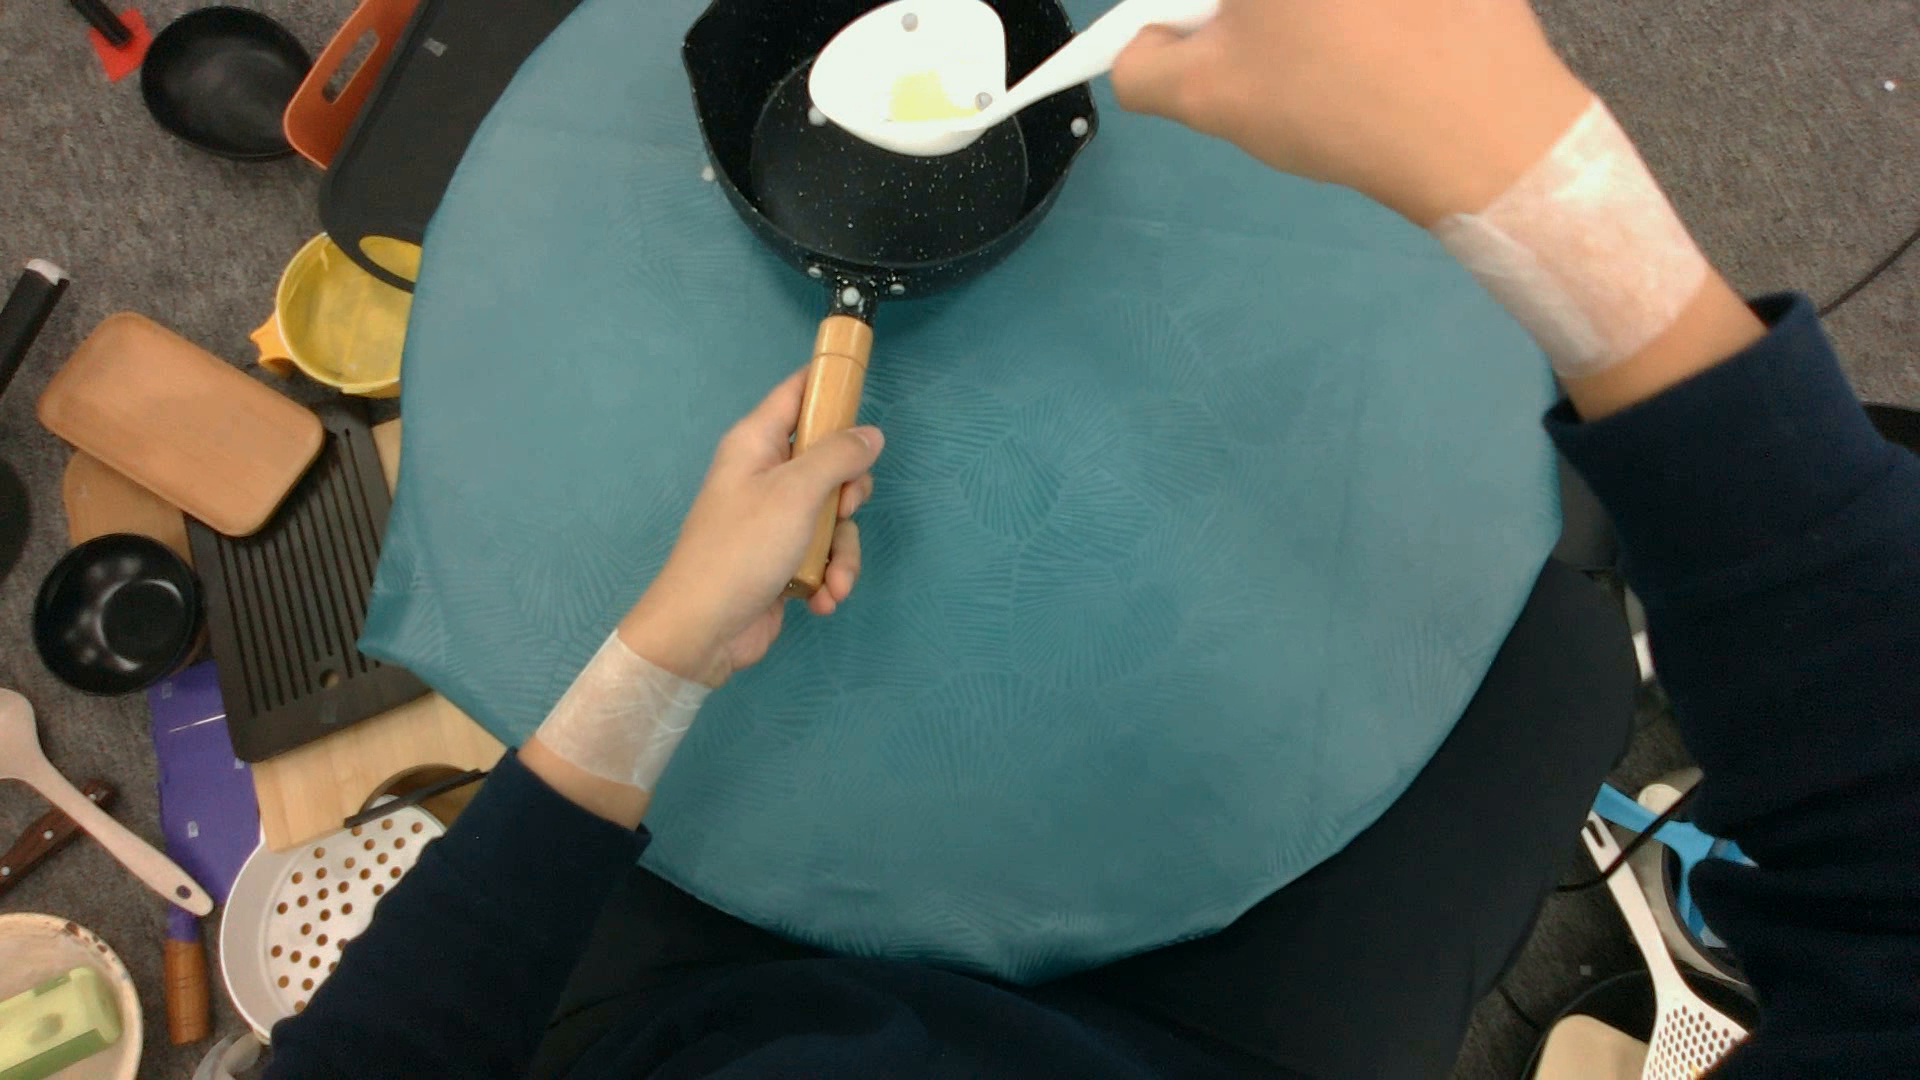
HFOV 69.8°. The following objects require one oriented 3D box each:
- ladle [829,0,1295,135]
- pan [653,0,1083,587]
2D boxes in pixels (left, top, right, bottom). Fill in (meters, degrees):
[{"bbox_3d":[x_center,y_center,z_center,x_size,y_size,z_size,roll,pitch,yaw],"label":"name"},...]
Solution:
[{"bbox_3d":[0.027,-0.198,0.514,0.090,0.293,0.070,-28,107,-14],"label":"ladle"},{"bbox_3d":[-0.054,-0.136,0.662,0.207,0.108,0.343,8,77,-3],"label":"pan"}]
